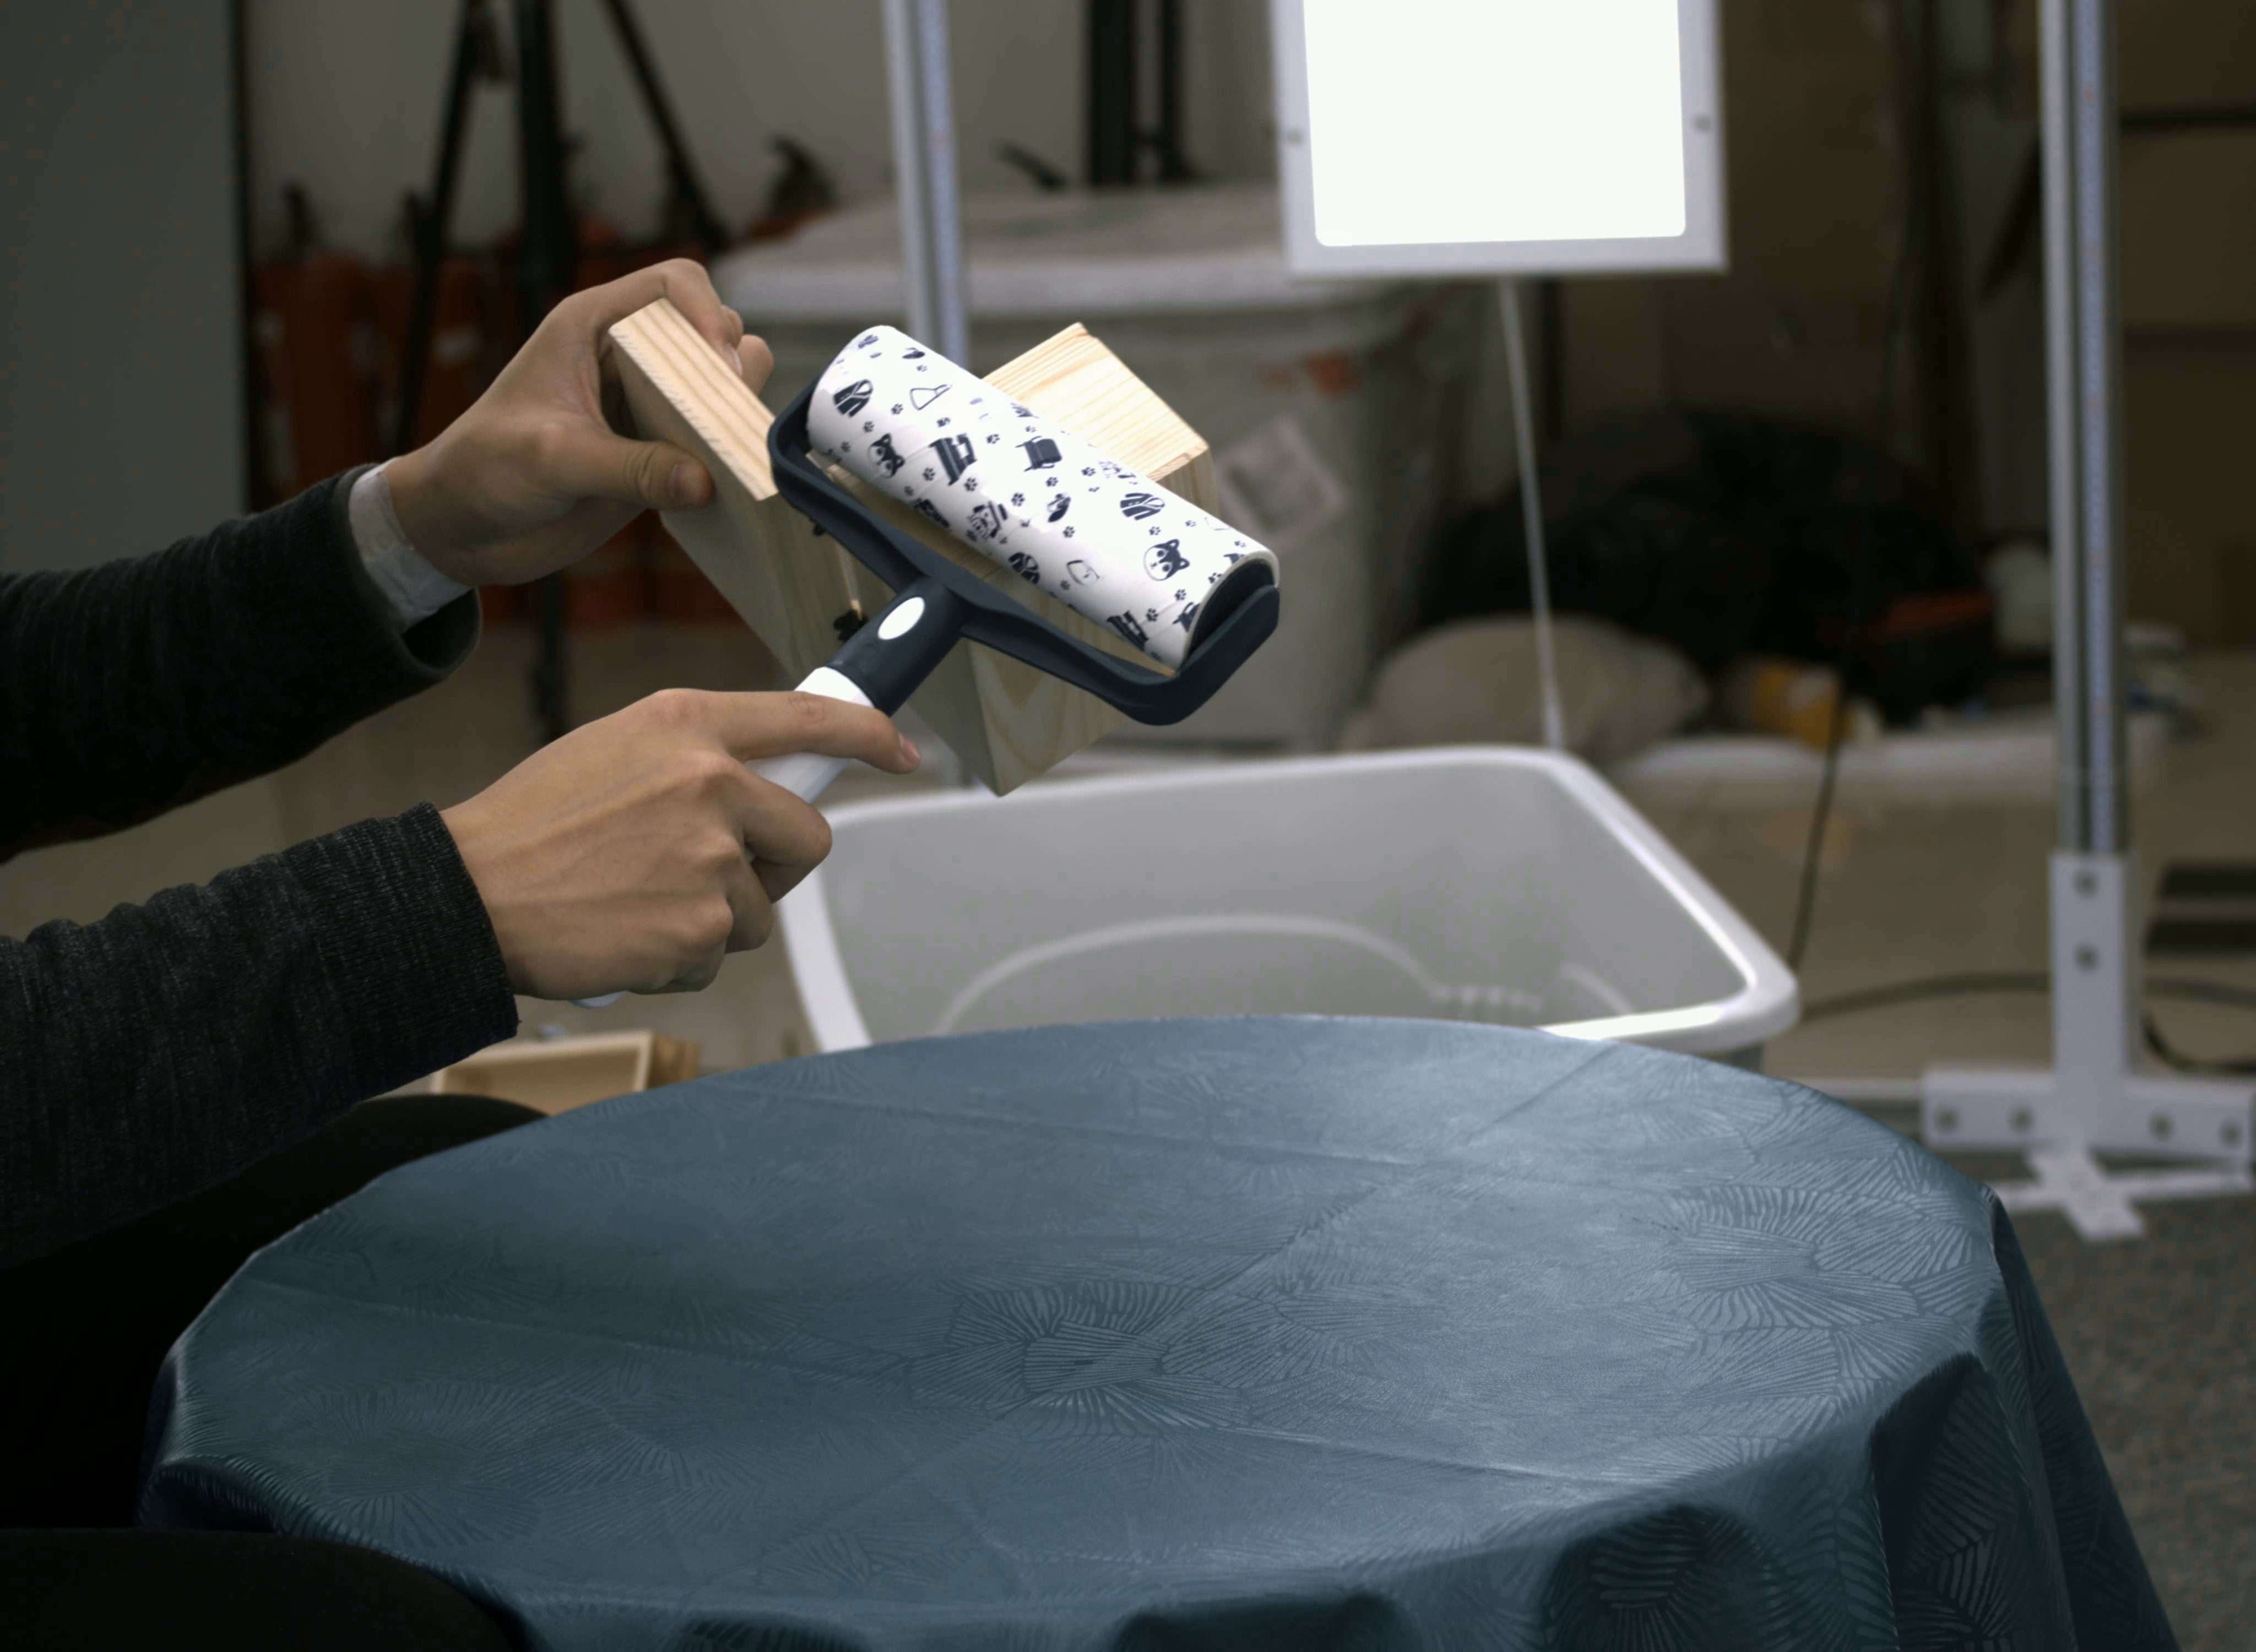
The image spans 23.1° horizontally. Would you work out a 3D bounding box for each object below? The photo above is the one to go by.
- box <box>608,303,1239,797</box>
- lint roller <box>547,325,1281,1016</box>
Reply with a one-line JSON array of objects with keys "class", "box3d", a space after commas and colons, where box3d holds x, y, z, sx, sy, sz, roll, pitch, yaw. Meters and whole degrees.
[{"class": "box", "box3d": [-0.068, -0.114, 1.850, 0.132, 0.102, 0.187, -32, 51, -16]}, {"class": "lint roller", "box3d": [-0.091, -0.036, 1.703, 0.178, 0.050, 0.244, 32, 67, 27]}]
